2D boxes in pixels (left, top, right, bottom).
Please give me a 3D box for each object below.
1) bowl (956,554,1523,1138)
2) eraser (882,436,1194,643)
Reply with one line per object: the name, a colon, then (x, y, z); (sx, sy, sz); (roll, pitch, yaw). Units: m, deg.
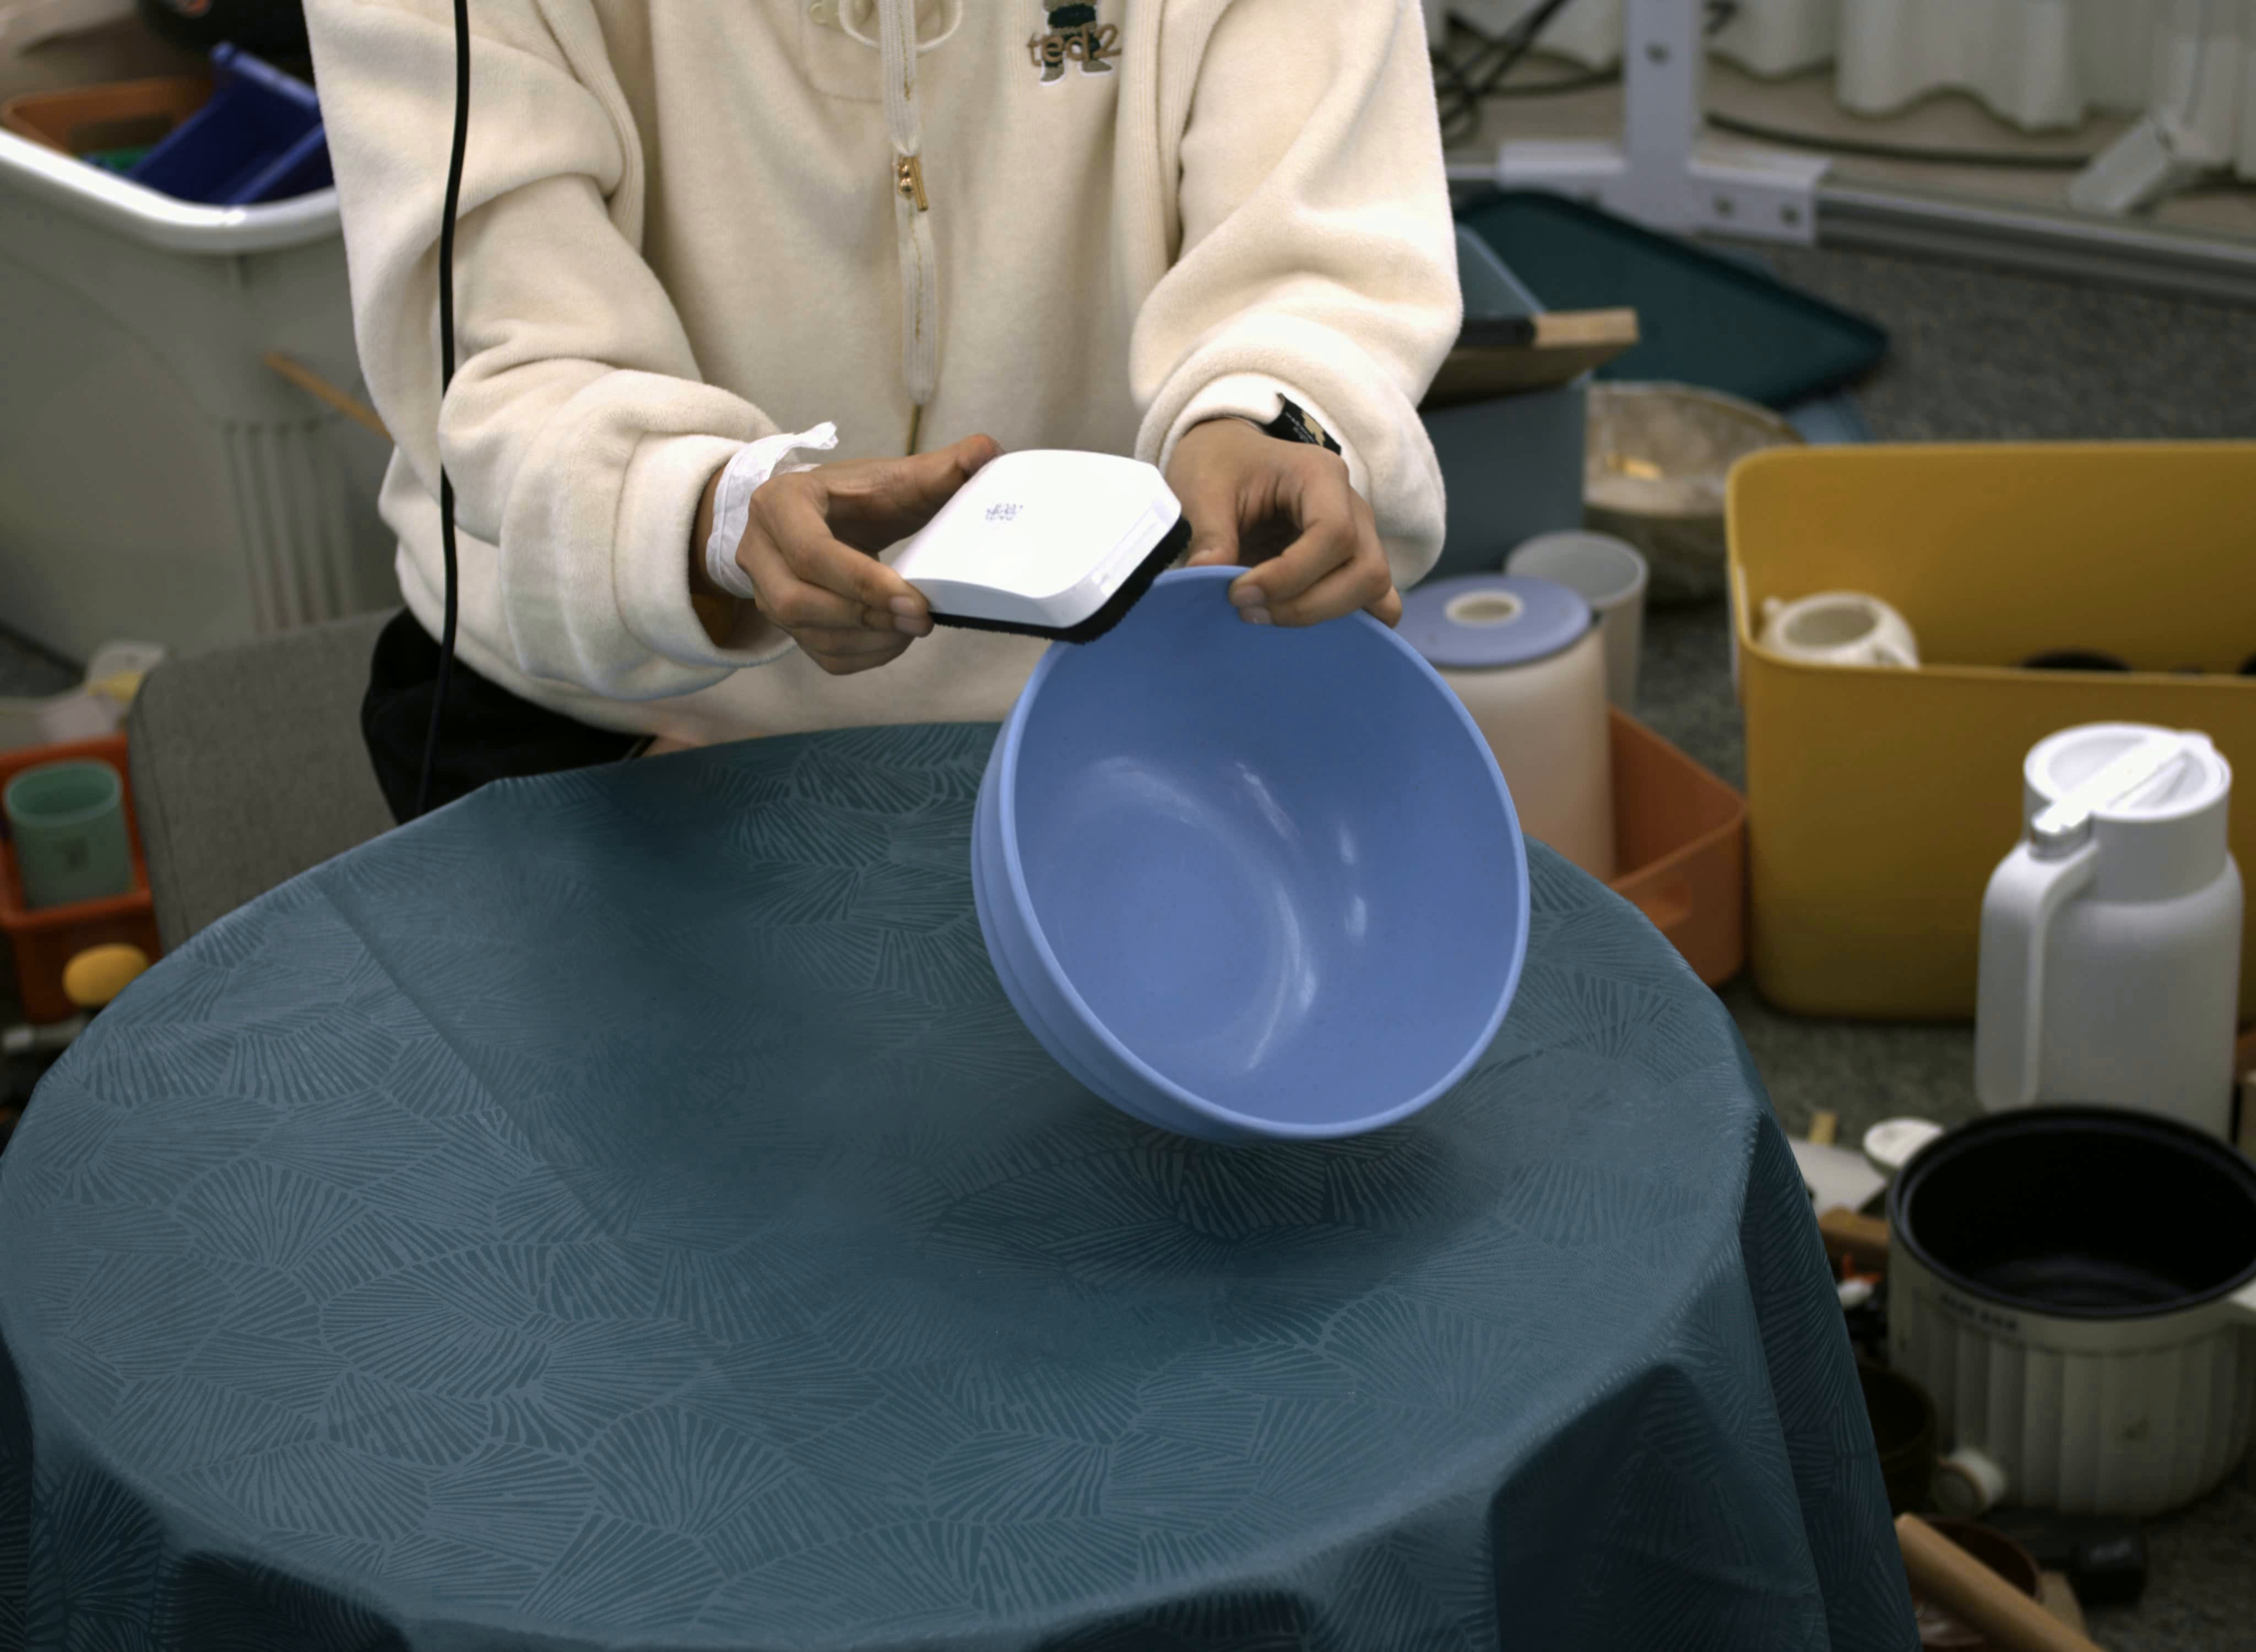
bowl: (0.024, 0.017, 1.867); (0.198, 0.198, 0.094); (-18, -9, -28)
eraser: (-0.030, -0.094, 1.850); (0.064, 0.034, 0.130); (-48, 25, -17)
